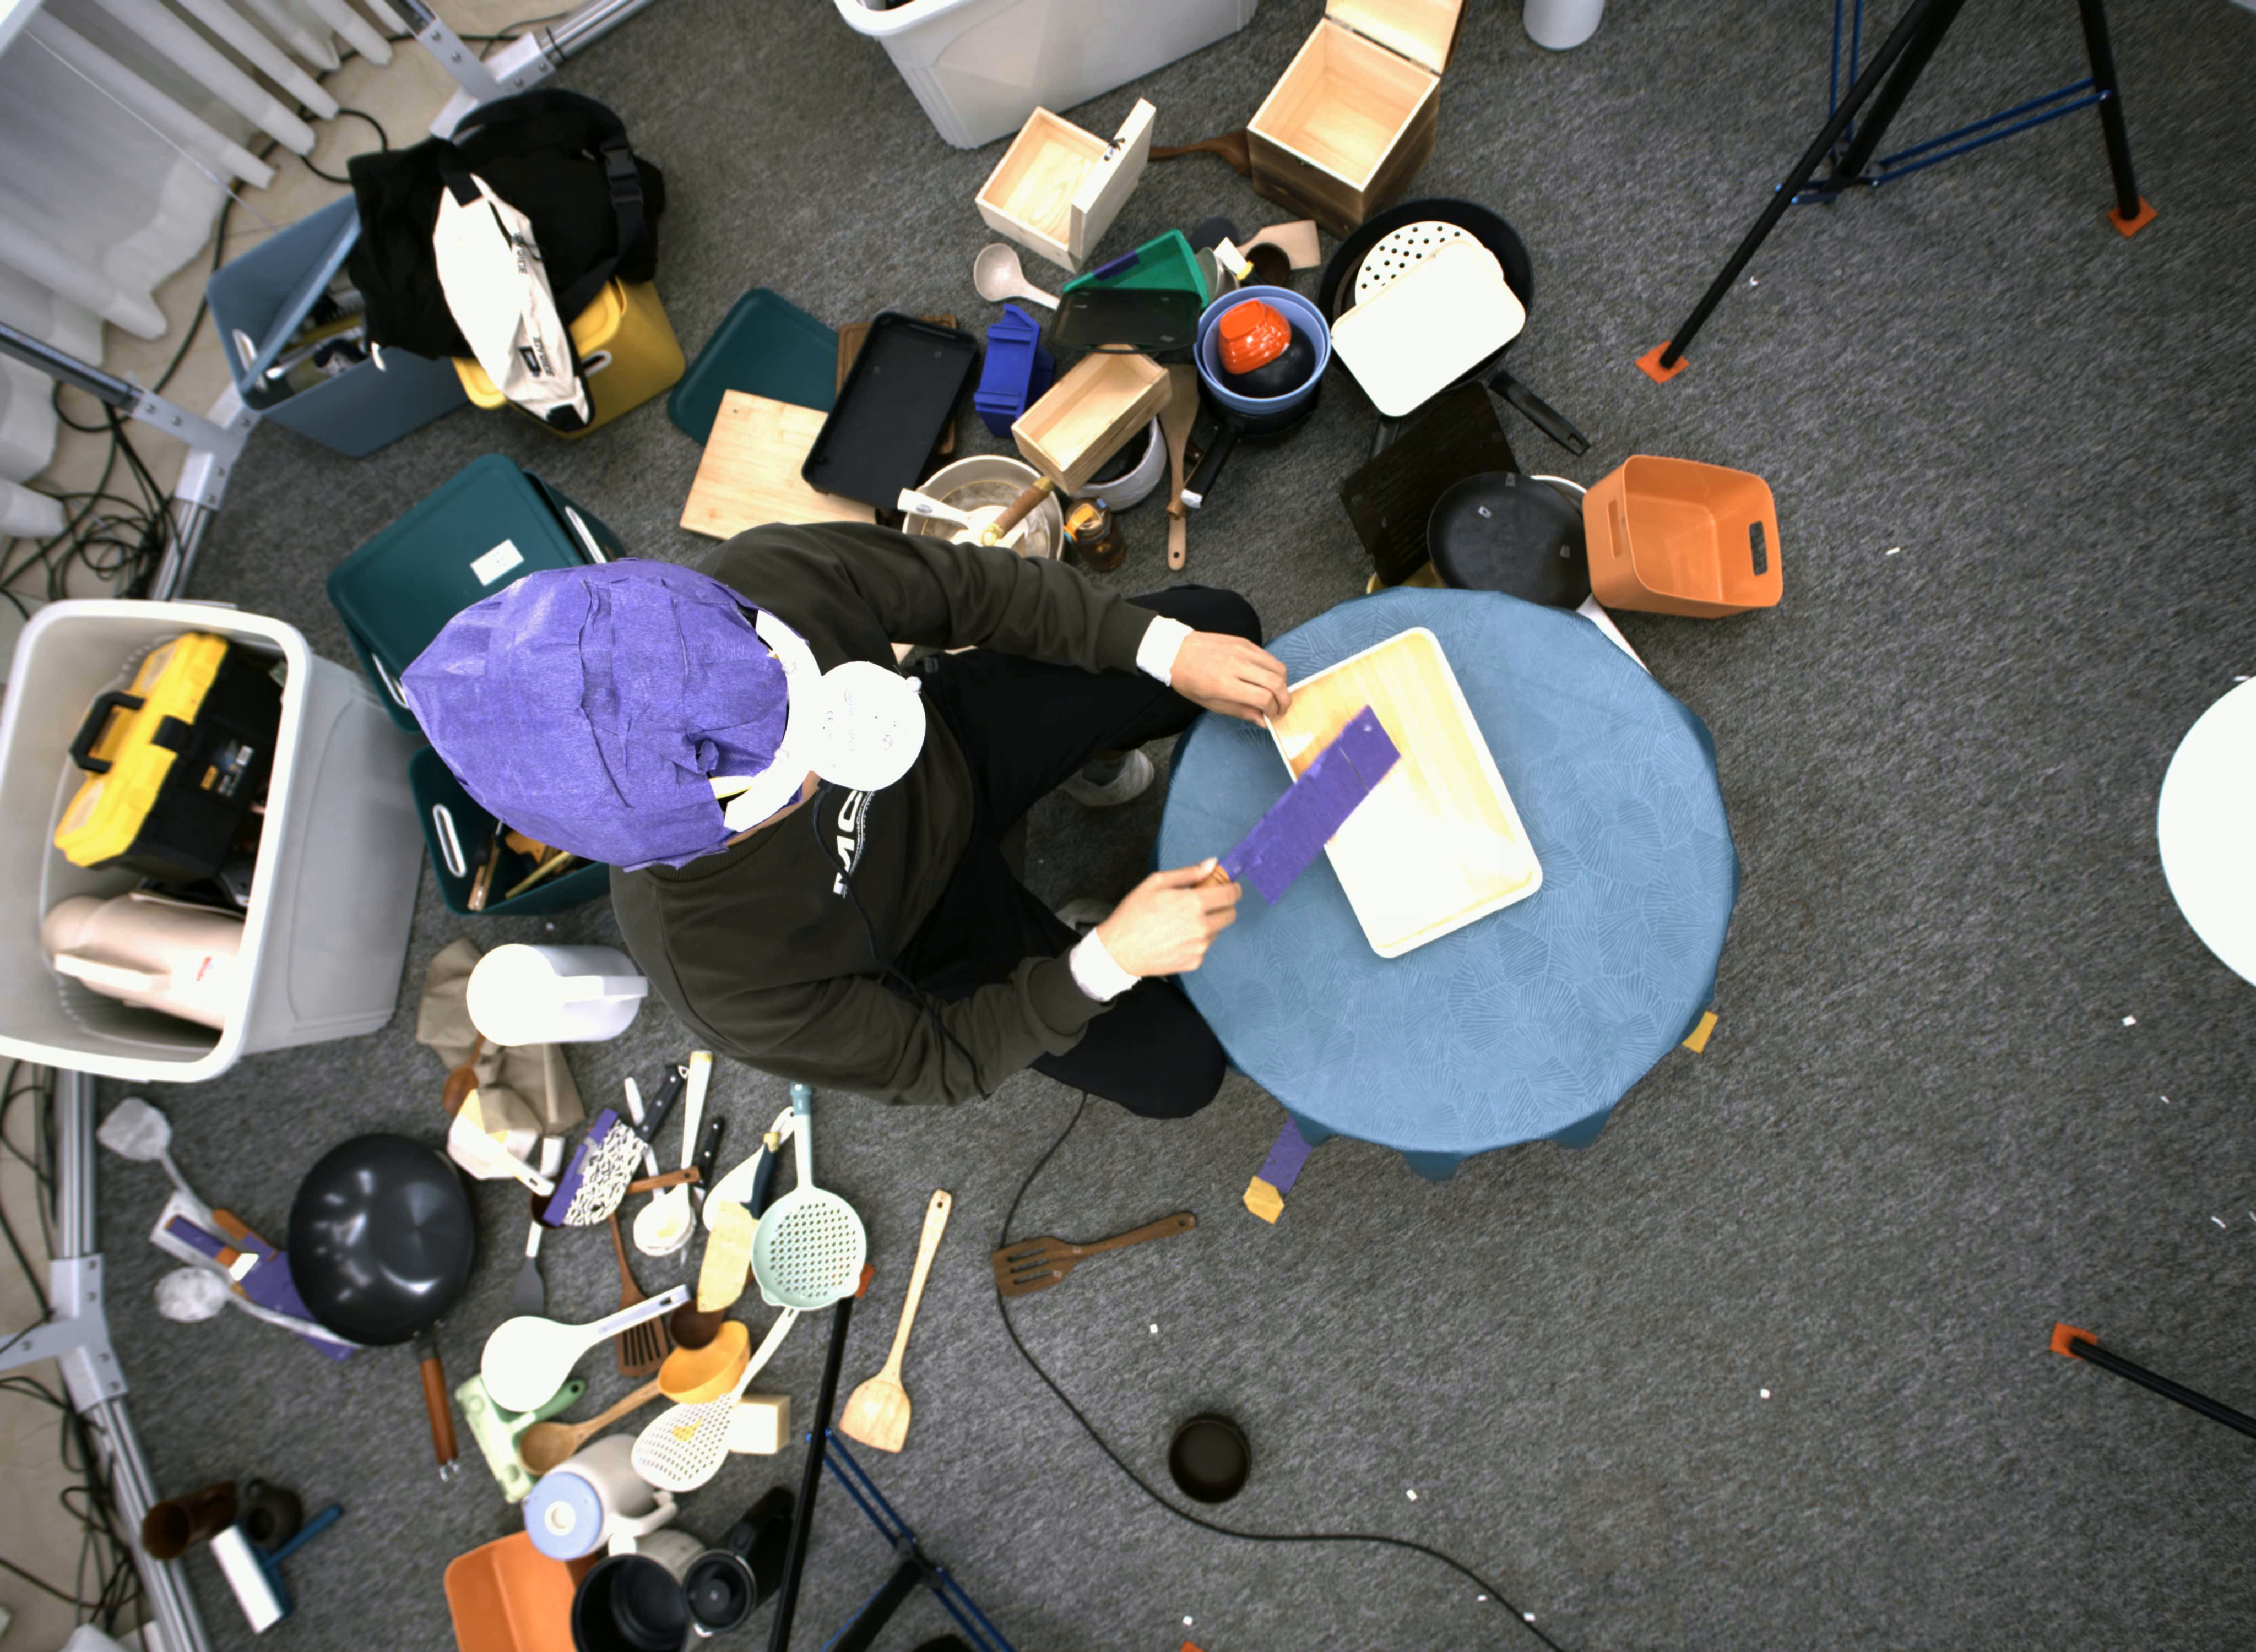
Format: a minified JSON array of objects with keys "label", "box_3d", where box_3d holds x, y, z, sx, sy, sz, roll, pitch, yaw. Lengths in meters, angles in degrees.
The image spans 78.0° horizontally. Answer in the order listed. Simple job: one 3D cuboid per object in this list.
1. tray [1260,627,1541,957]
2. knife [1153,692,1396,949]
[{"label":"tray","box_3d":[0.279,-0.034,1.410,0.193,0.027,0.302,-25,99,9]},{"label":"knife","box_3d":[0.153,0.011,1.351,0.314,0.105,0.032,-47,40,-5]}]
